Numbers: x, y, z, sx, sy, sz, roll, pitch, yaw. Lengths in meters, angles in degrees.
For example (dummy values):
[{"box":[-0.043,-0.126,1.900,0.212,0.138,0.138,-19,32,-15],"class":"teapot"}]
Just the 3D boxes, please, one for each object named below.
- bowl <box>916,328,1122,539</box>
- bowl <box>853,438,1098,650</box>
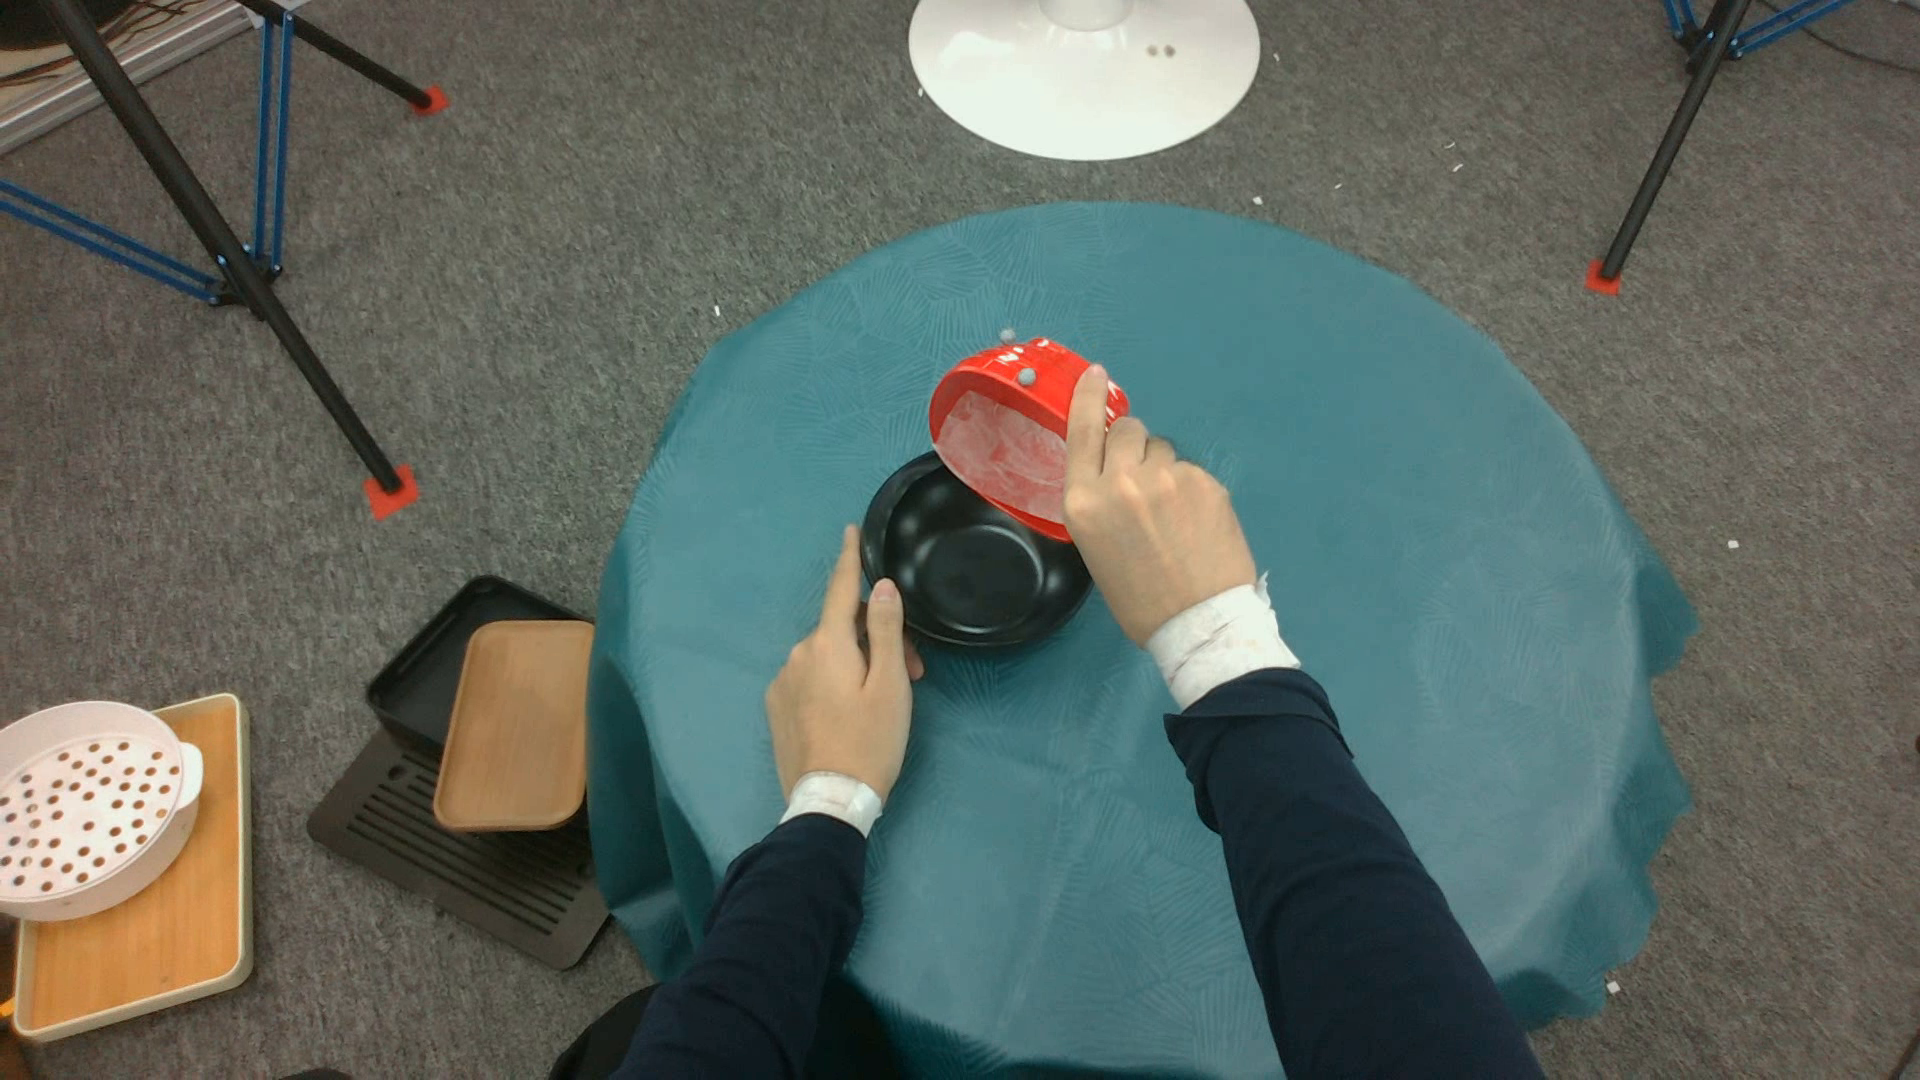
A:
[{"box":[0.038,-0.061,0.698,0.119,0.118,0.051,31,56,19],"class":"bowl"},{"box":[0.009,0.006,0.798,0.140,0.049,0.140,0,61,0],"class":"bowl"}]
